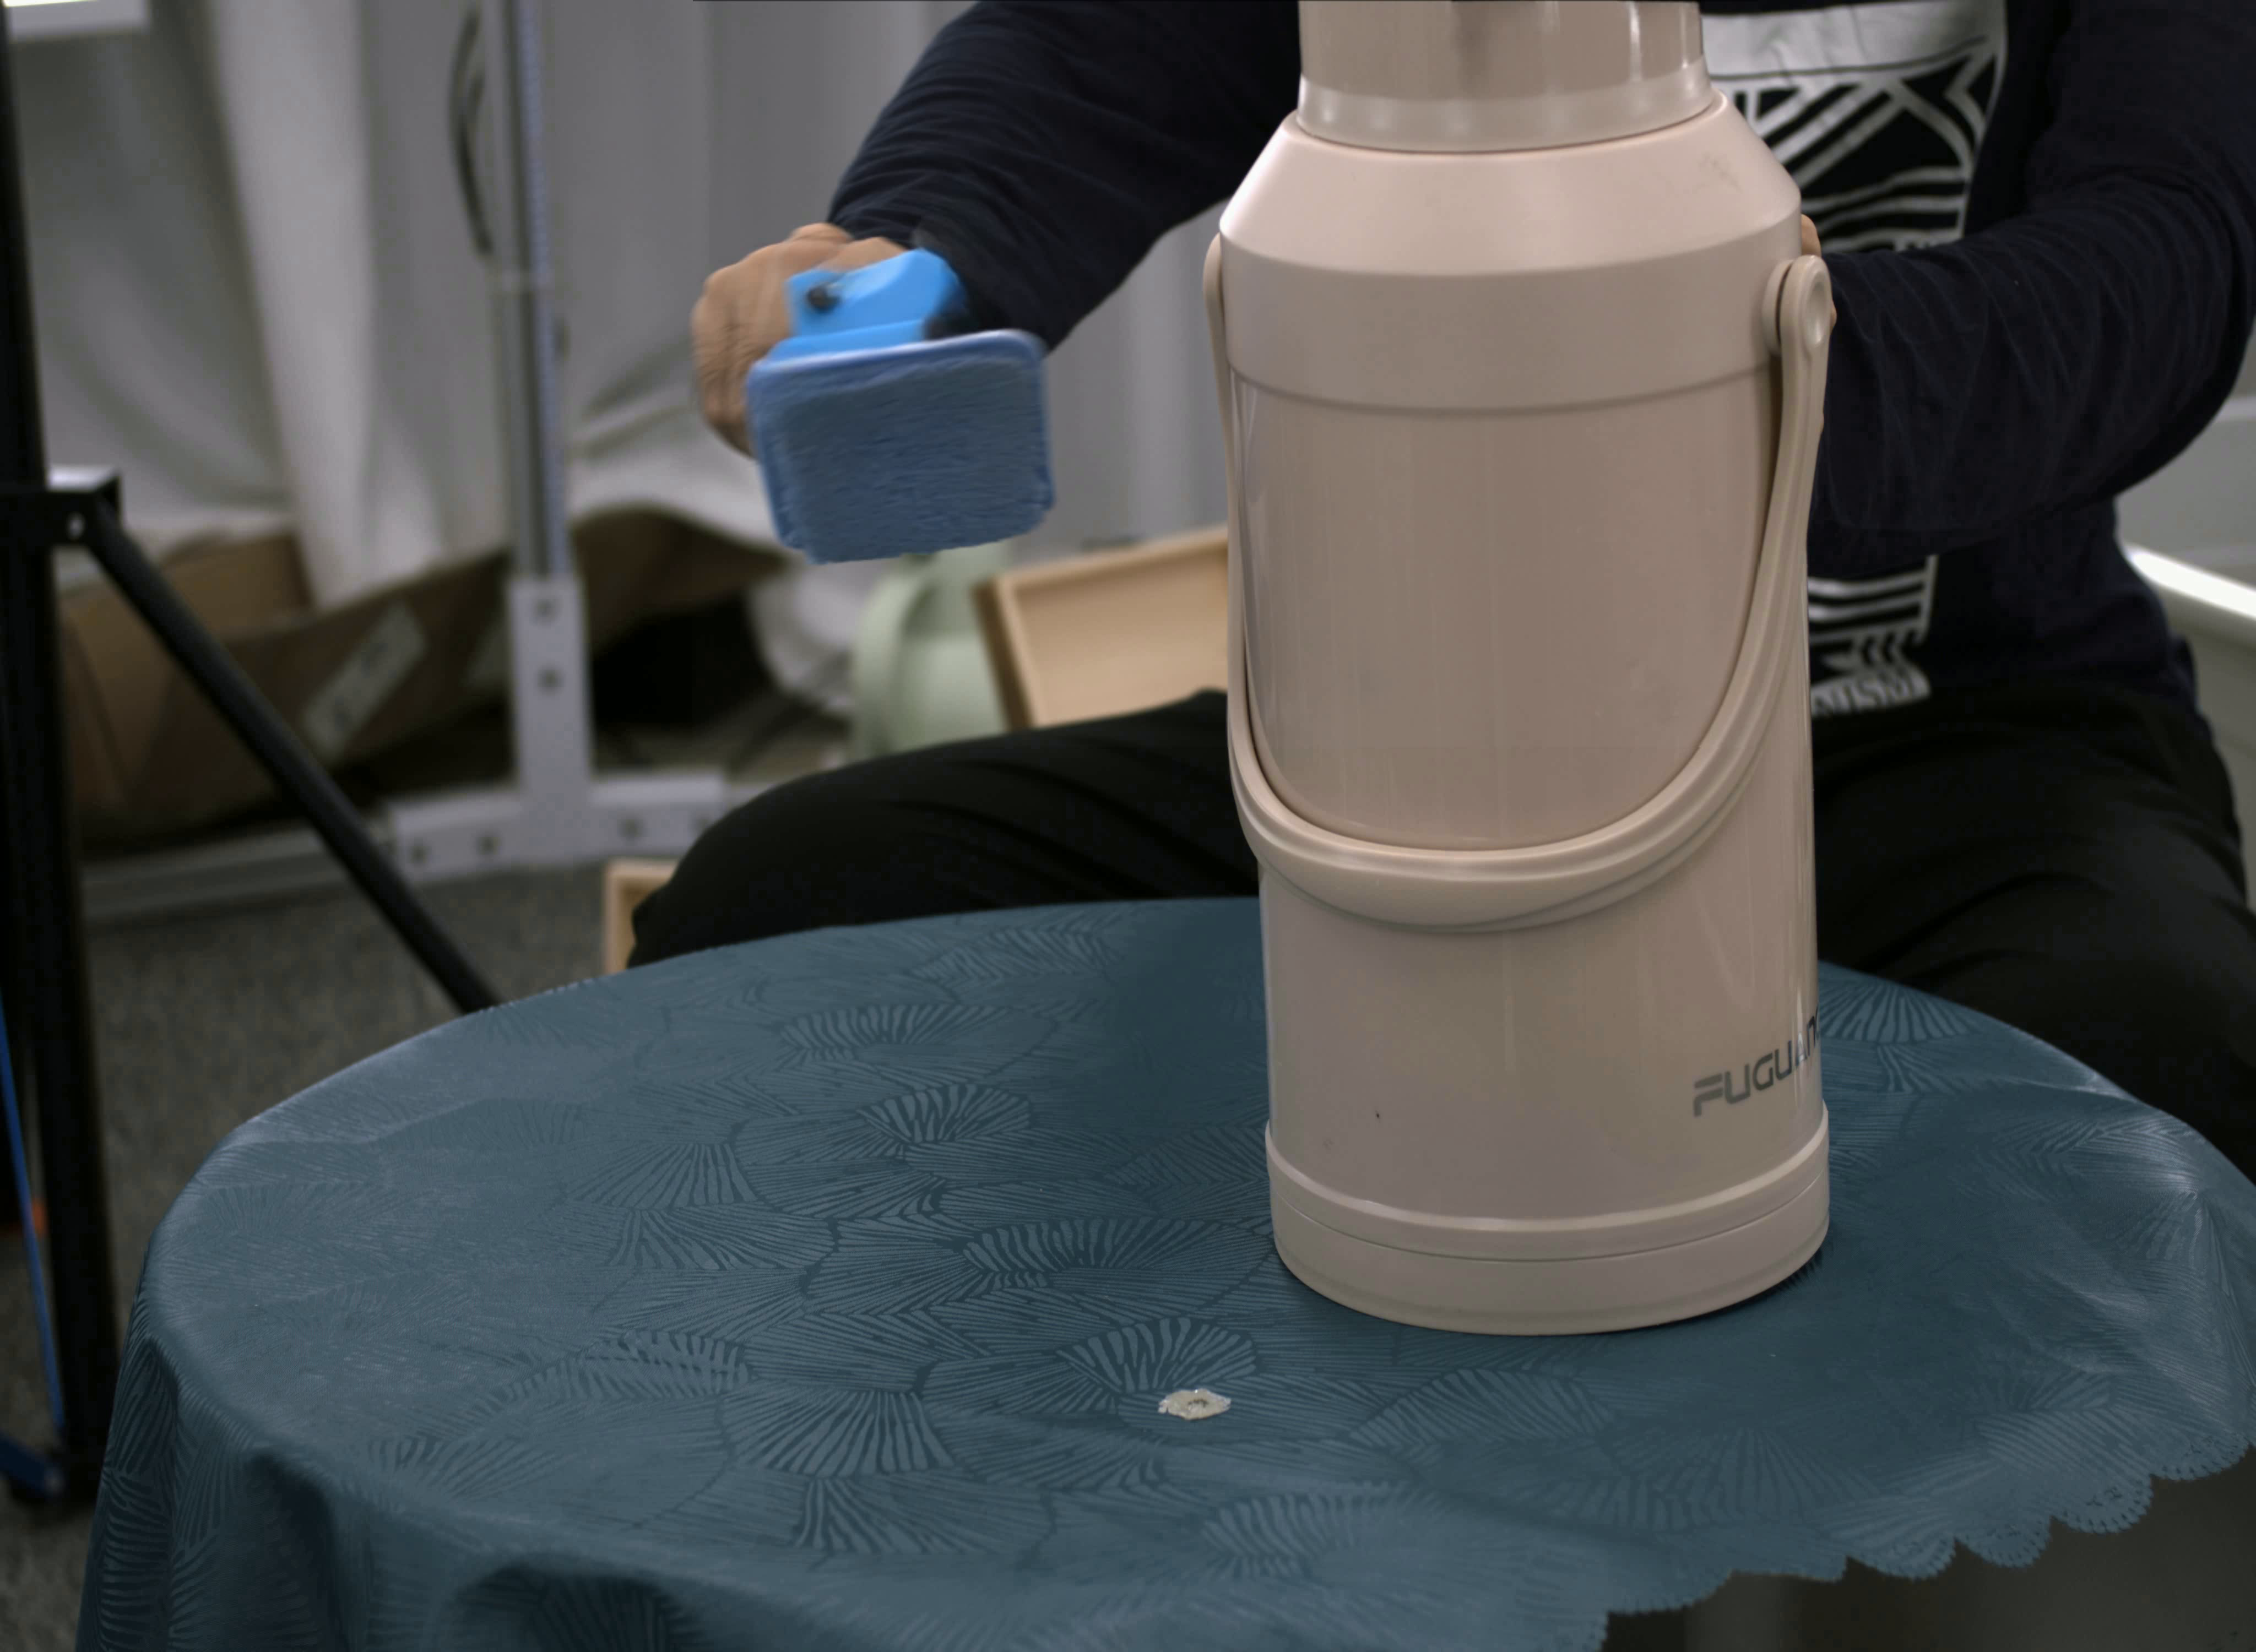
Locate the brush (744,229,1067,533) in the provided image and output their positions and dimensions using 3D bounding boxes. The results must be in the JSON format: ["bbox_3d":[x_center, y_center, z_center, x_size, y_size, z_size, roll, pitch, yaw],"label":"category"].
[{"bbox_3d":[-0.062,-0.126,1.484,0.083,0.056,0.143,-5,-17,1],"label":"brush"}]

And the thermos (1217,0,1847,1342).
[{"bbox_3d":[0.118,-0.078,1.456,0.178,0.406,0.204,4,18,28],"label":"thermos"}]
